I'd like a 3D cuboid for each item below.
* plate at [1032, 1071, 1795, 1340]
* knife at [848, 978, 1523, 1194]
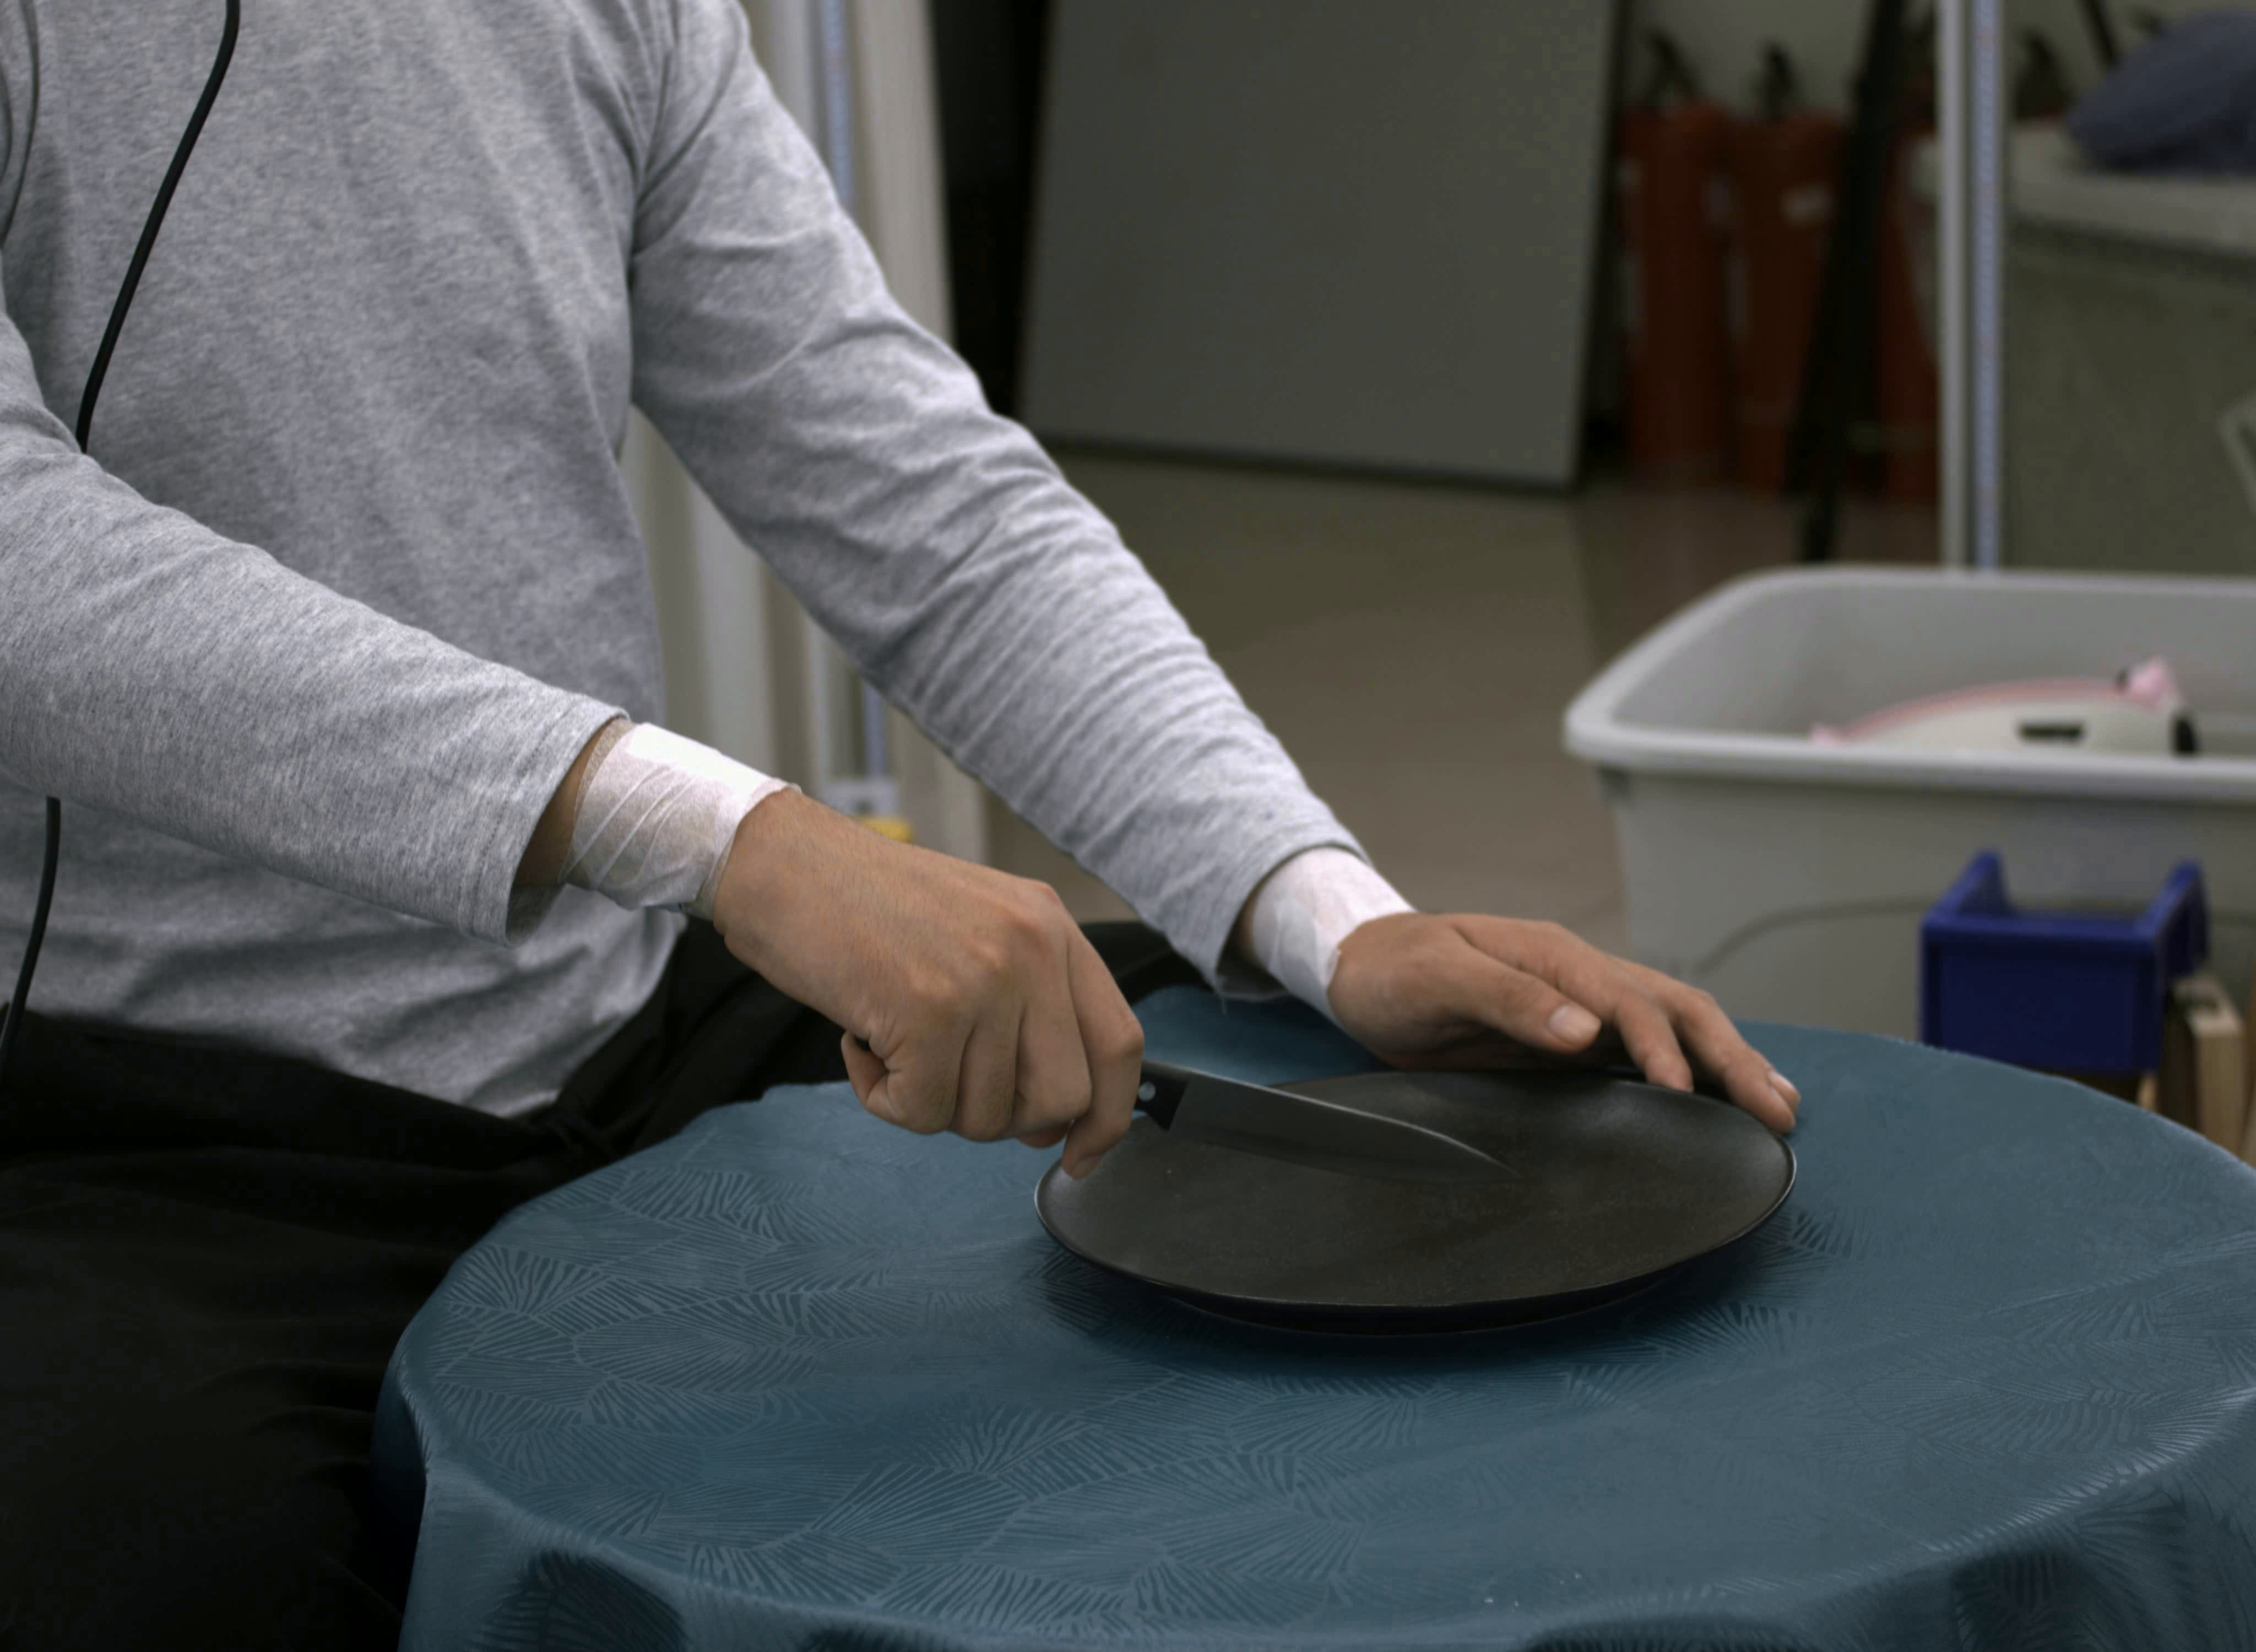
[{"bbox_3d":[0.090,0.122,1.699,0.241,0.024,0.245,-4,13,0],"label":"plate"},{"bbox_3d":[0.023,0.082,1.658,0.233,0.025,0.016,16,7,-23],"label":"knife"}]
